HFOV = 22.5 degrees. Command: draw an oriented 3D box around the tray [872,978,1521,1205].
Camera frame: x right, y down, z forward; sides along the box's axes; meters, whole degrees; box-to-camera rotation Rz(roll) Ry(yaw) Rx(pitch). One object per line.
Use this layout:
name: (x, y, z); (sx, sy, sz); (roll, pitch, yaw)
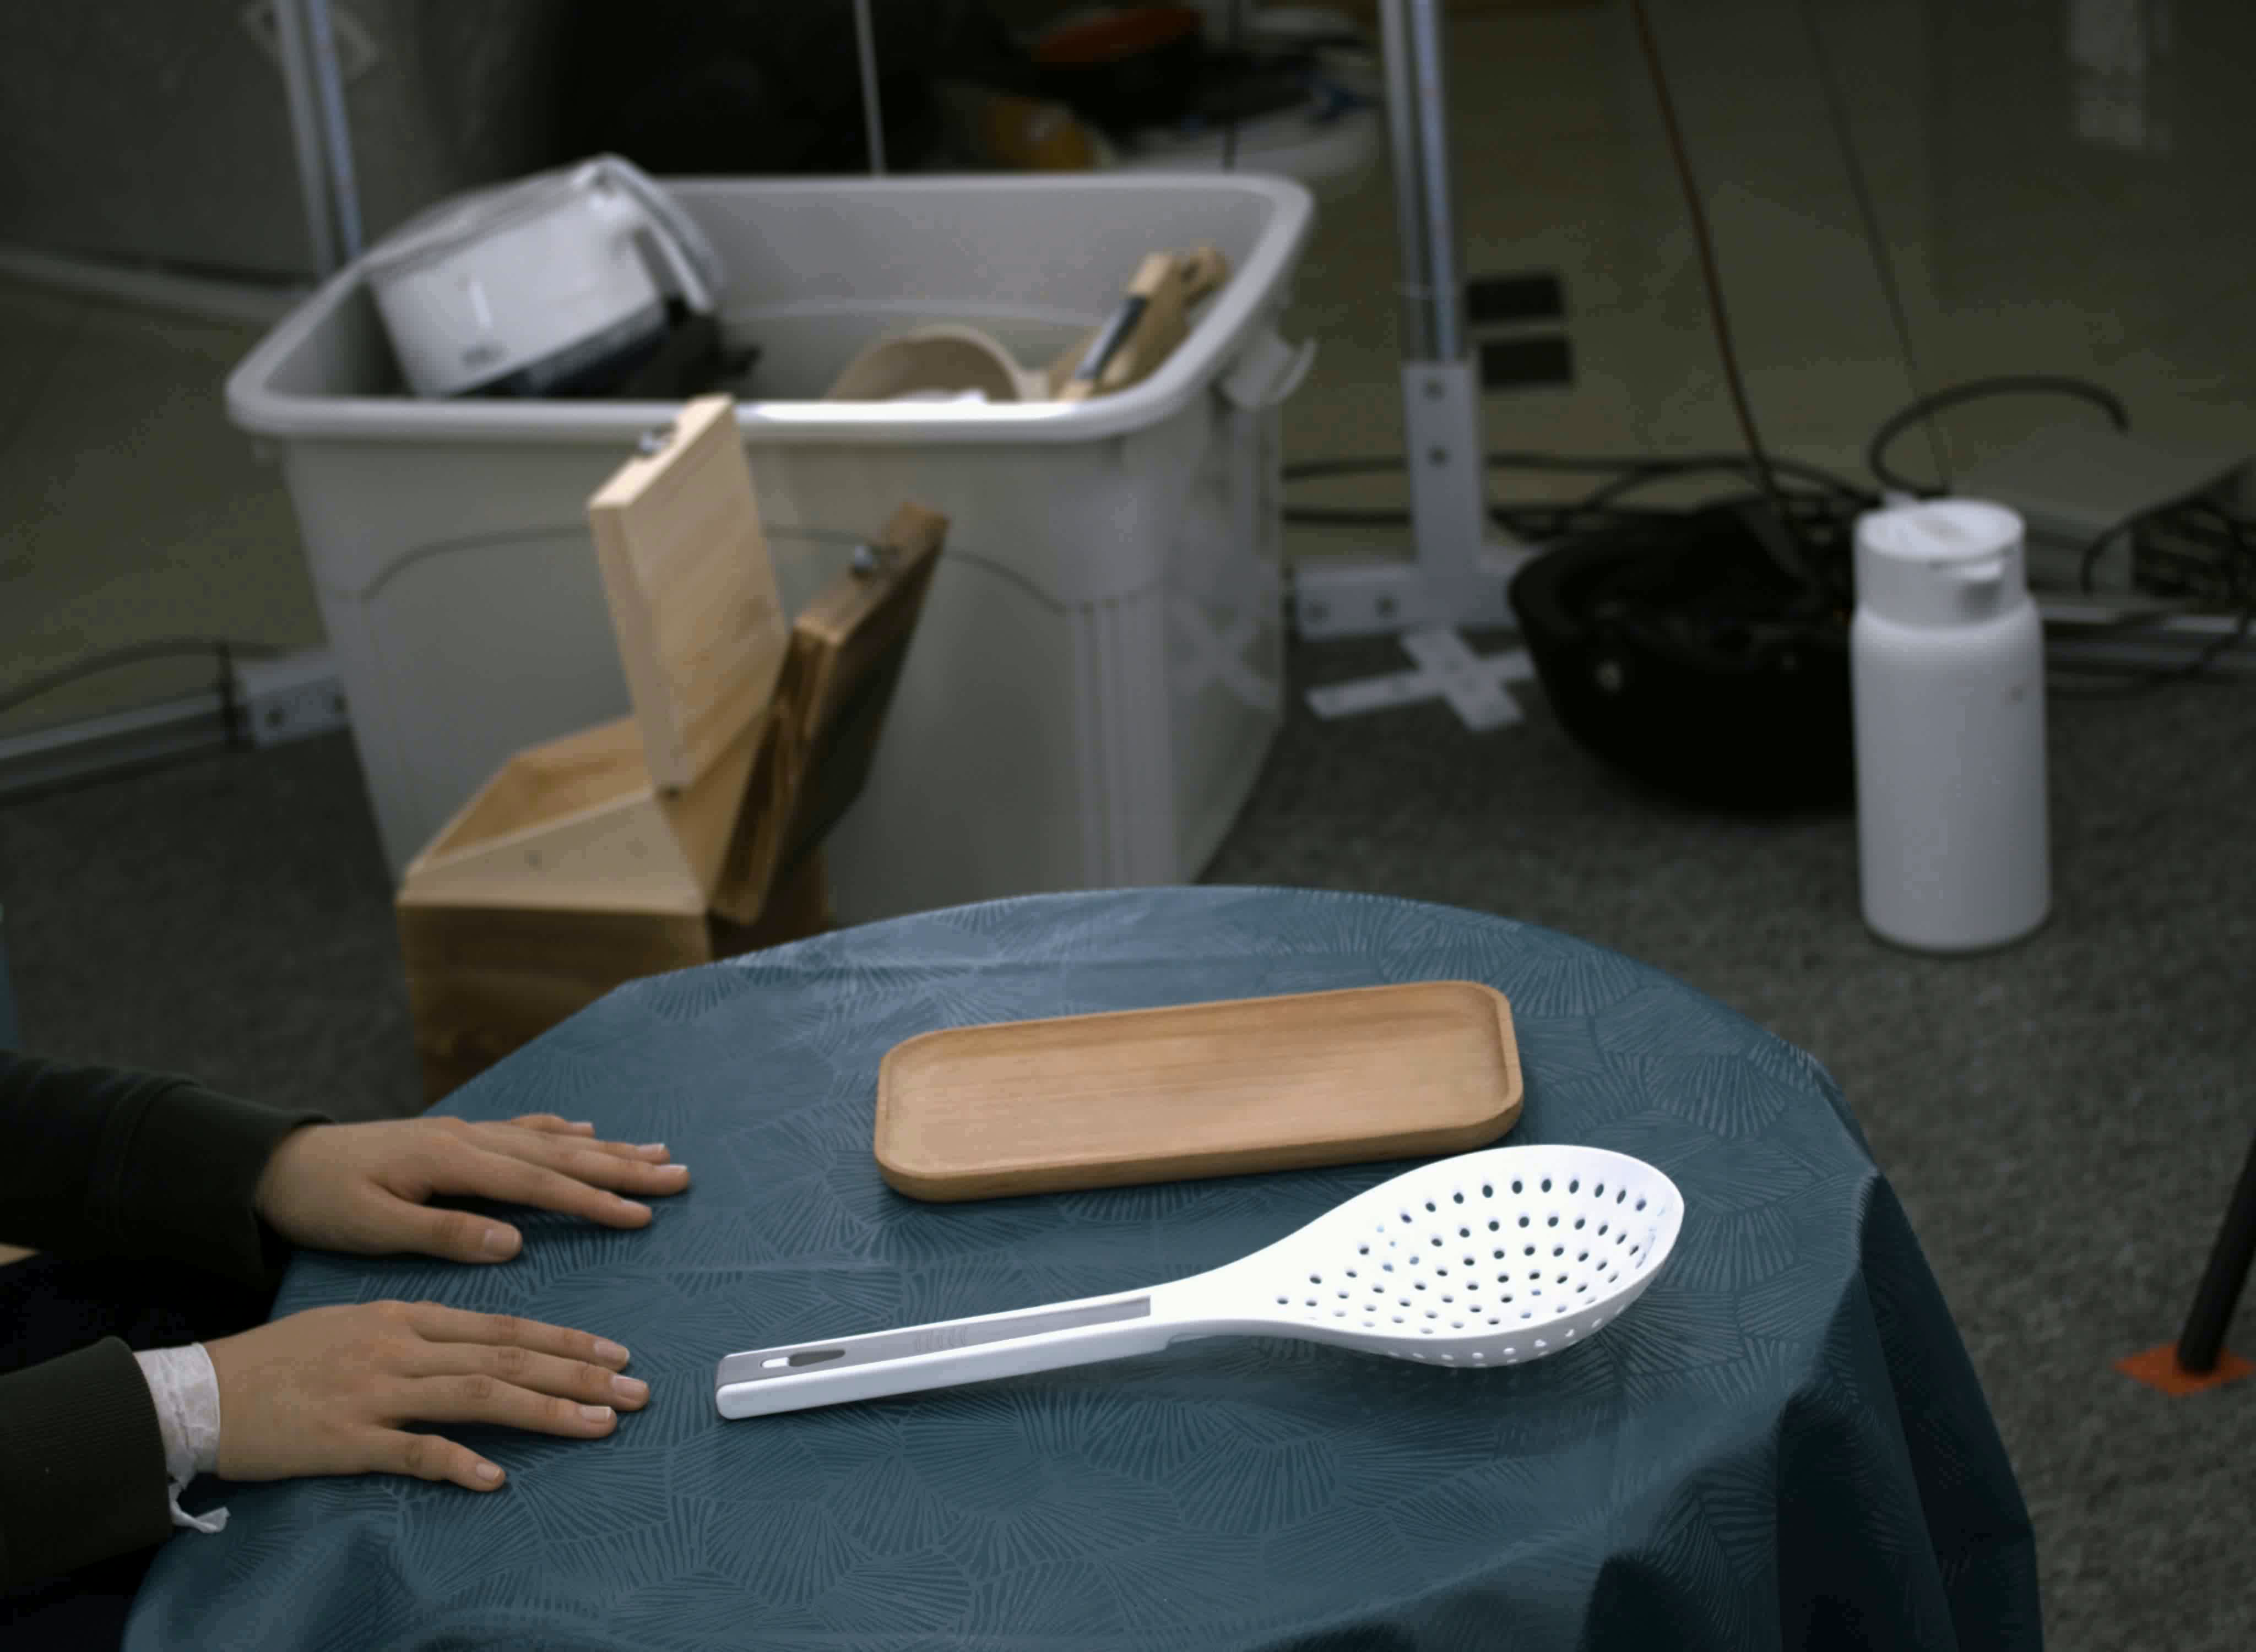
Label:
tray: (0.026, 0.103, 2.203); (0.250, 0.023, 0.129); (-6, 23, 3)

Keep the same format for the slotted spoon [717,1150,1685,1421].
slotted spoon: (0.025, 0.172, 2.021); (0.349, 0.046, 0.134); (-6, 23, 3)
